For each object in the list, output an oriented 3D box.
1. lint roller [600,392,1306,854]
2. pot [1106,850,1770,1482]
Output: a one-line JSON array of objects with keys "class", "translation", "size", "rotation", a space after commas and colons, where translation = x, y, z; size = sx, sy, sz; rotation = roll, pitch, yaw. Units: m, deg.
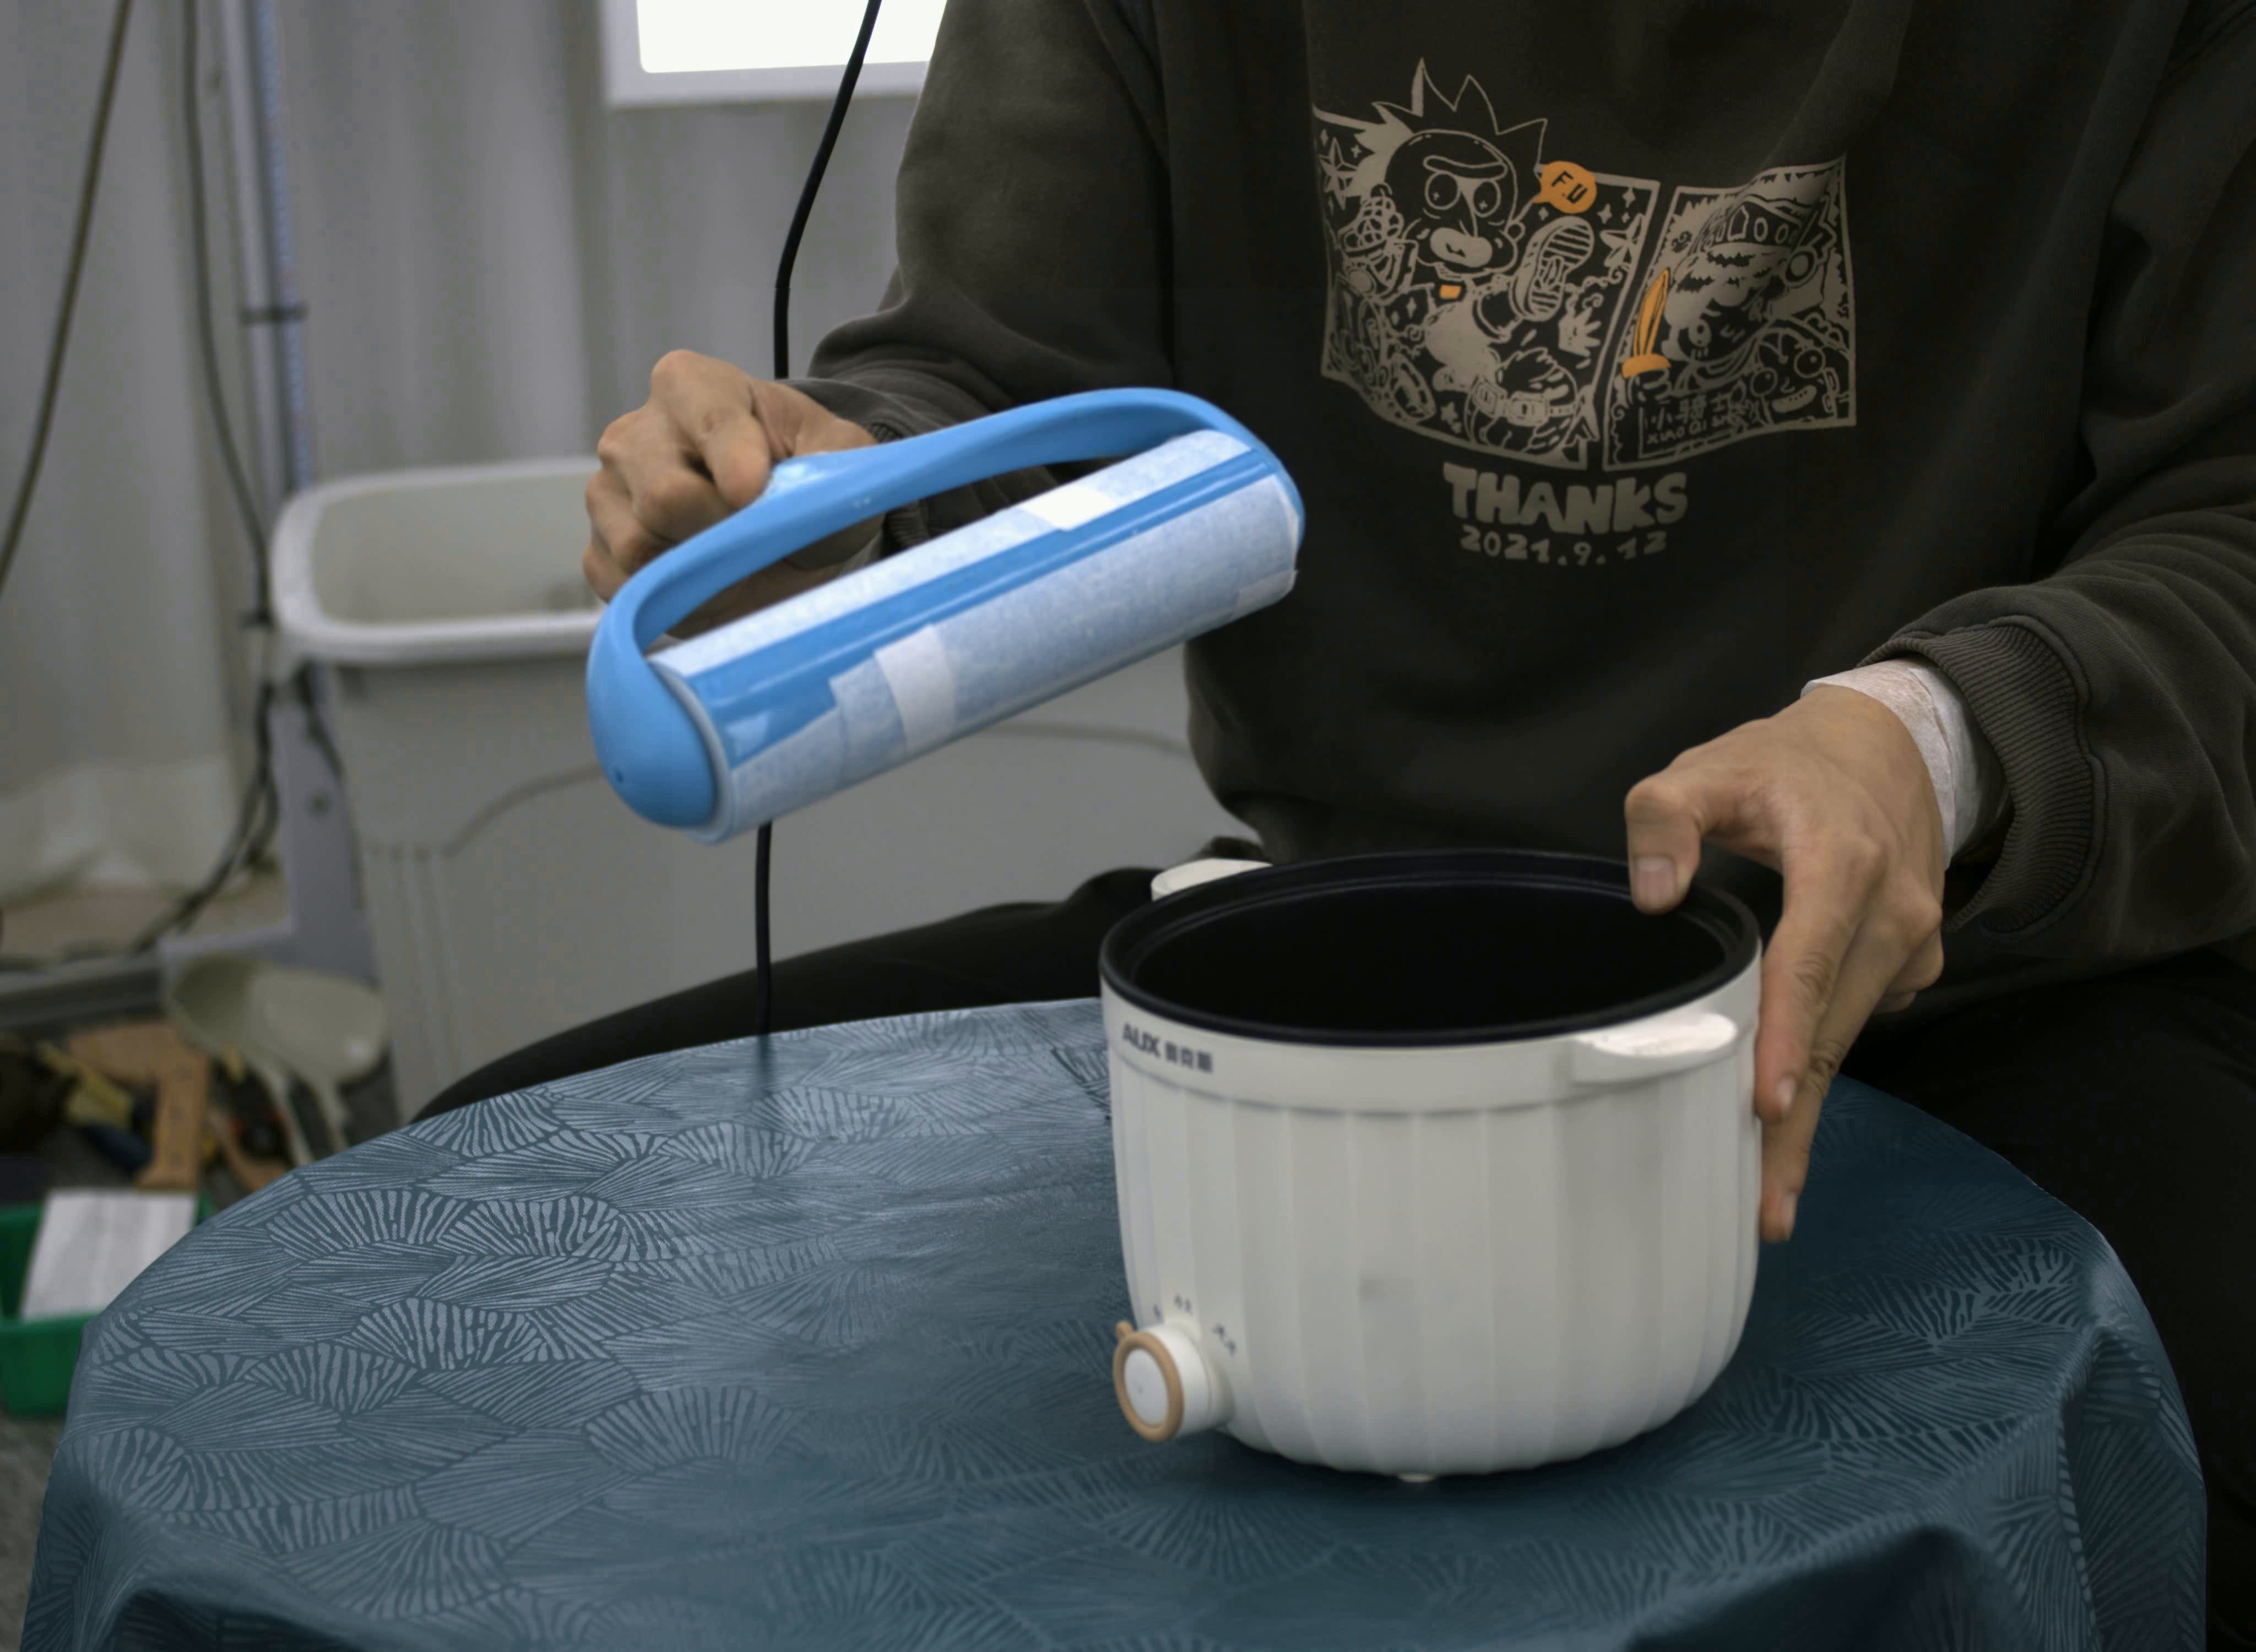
[{"class": "lint roller", "translation": [-0.082, -0.072, 1.556], "size": [0.229, 0.067, 0.182], "rotation": [-28, 34, -31]}, {"class": "pot", "translation": [0.083, 0.096, 1.510], "size": [0.189, 0.142, 0.242], "rotation": [-9, 14, -34]}]
